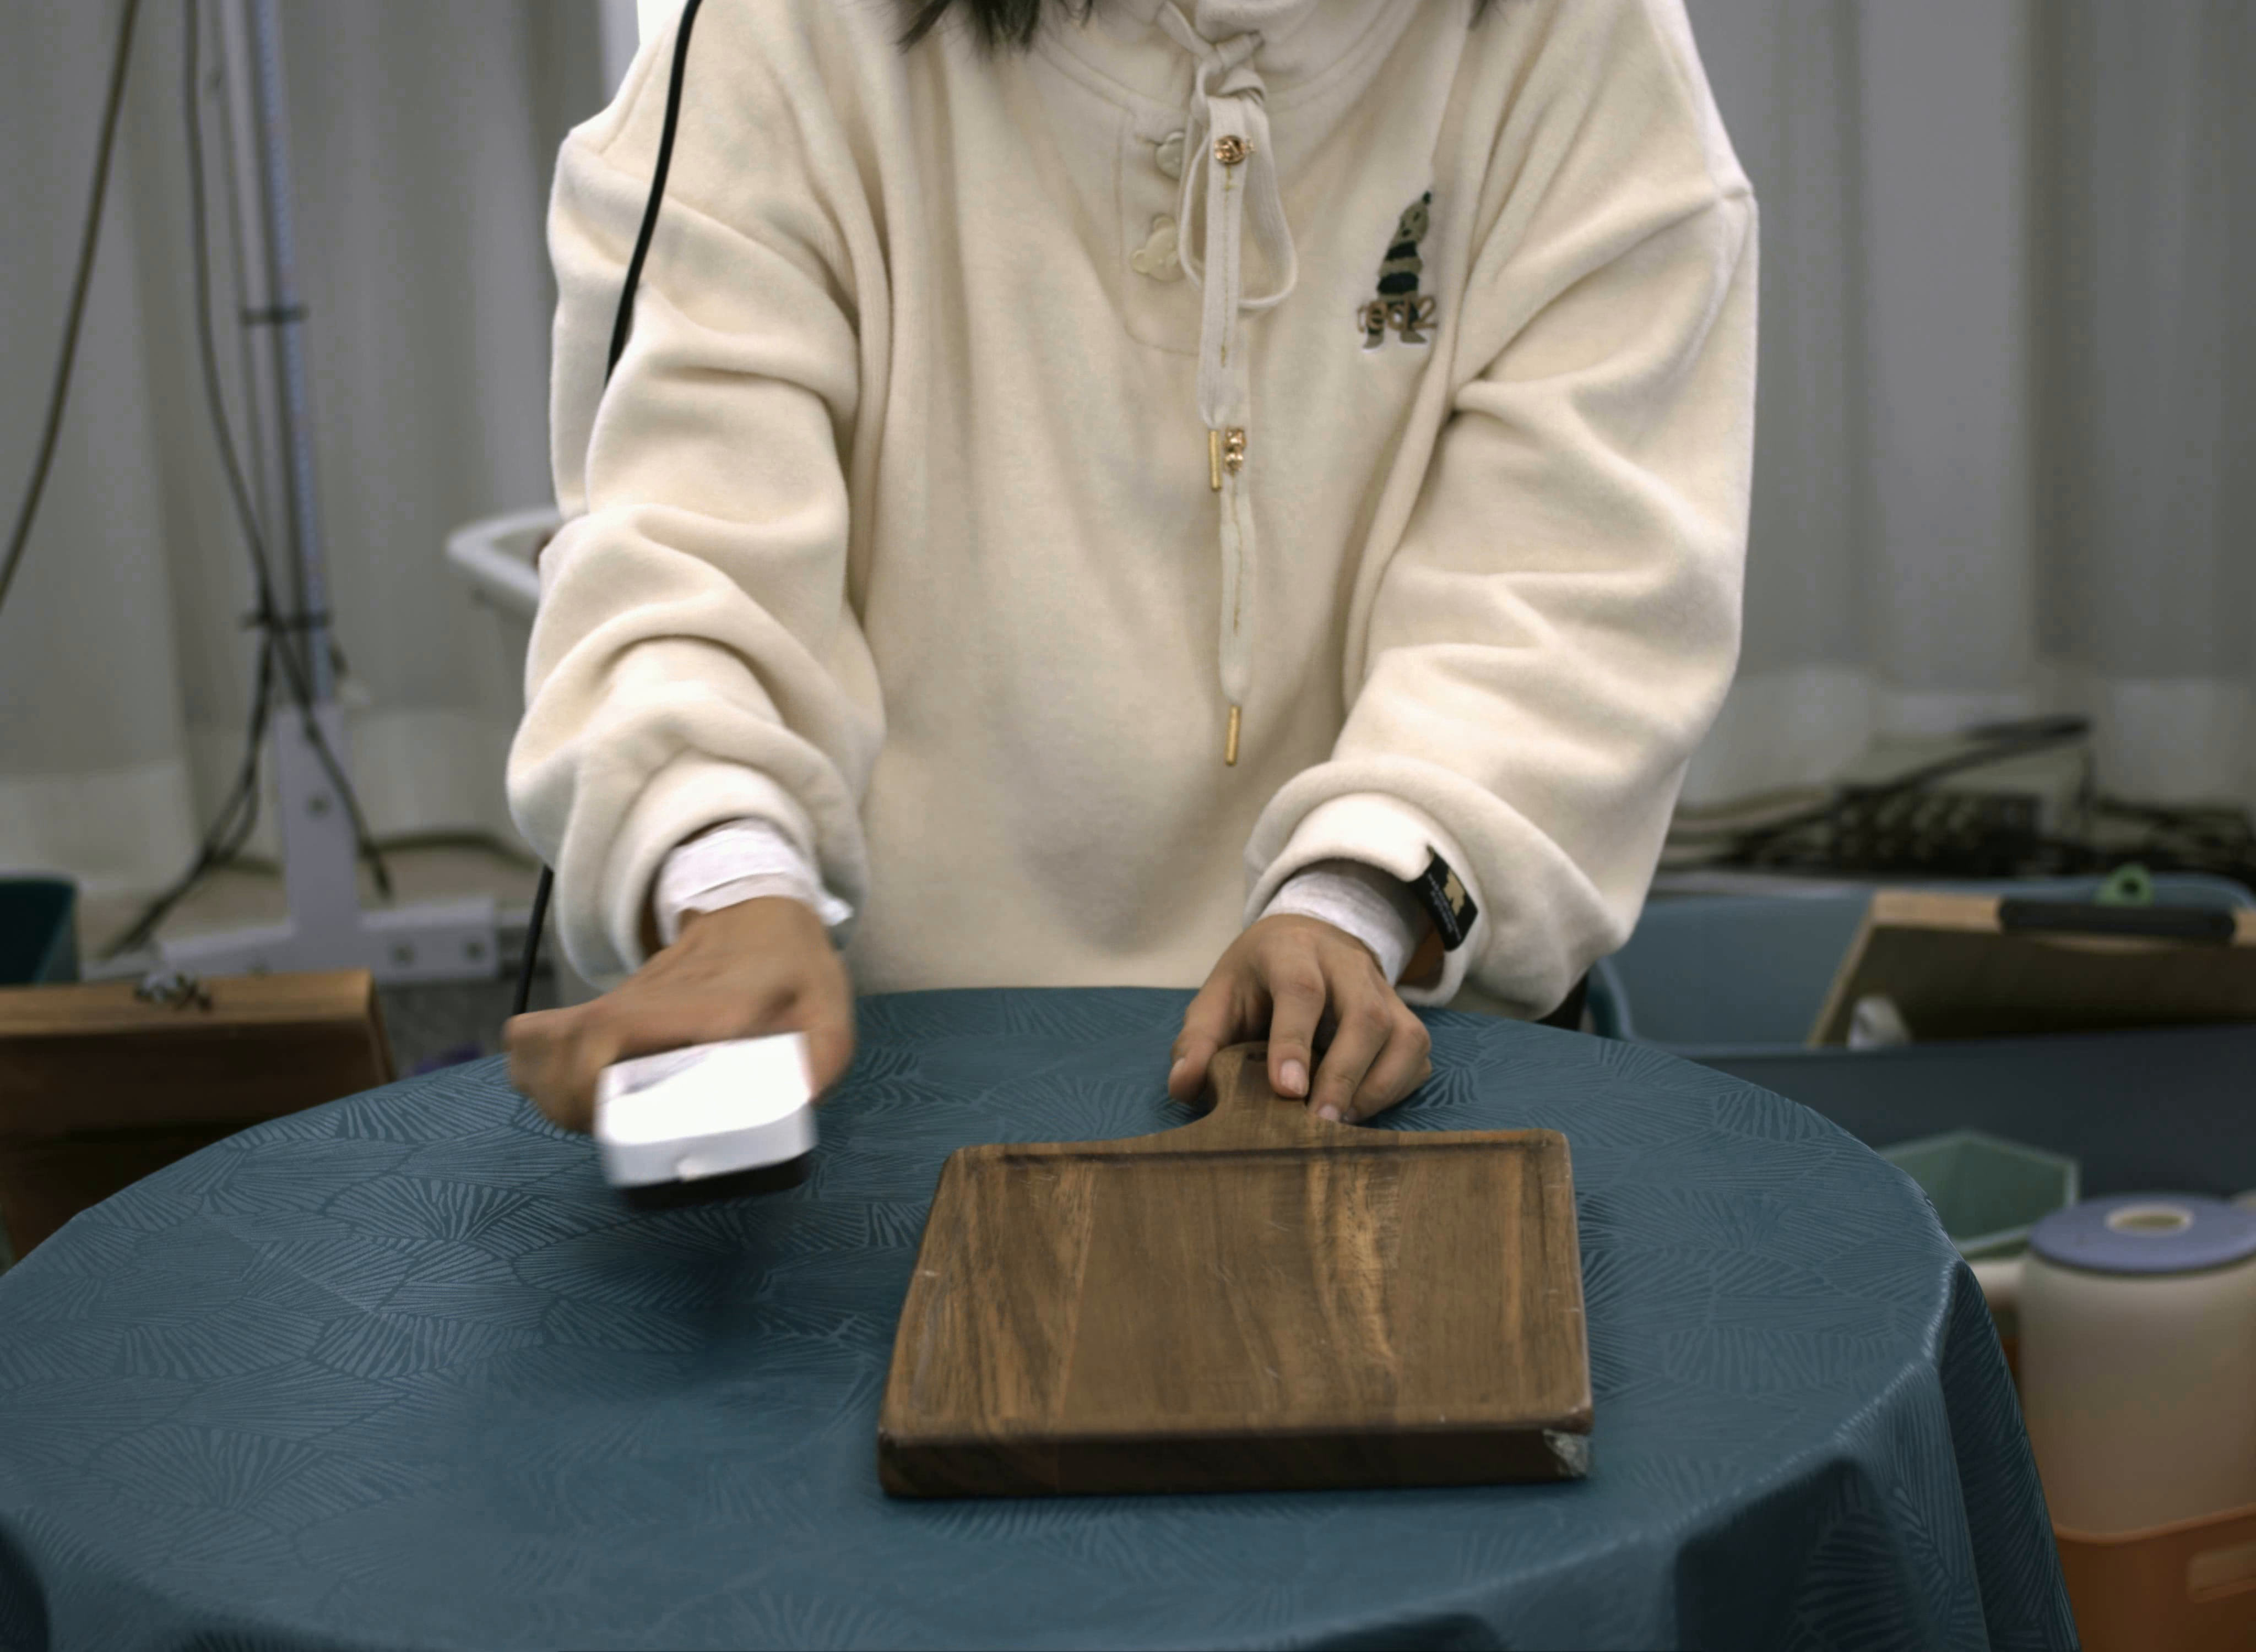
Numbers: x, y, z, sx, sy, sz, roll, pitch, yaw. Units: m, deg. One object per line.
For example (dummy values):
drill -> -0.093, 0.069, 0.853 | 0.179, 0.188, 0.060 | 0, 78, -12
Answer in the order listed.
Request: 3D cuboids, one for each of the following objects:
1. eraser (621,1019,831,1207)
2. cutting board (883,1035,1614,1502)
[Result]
eraser -> -0.119, 0.083, 1.639 | 0.063, 0.034, 0.132 | -9, 9, -3
cutting board -> 0.037, 0.124, 1.629 | 0.200, 0.023, 0.354 | -2, 15, 3
